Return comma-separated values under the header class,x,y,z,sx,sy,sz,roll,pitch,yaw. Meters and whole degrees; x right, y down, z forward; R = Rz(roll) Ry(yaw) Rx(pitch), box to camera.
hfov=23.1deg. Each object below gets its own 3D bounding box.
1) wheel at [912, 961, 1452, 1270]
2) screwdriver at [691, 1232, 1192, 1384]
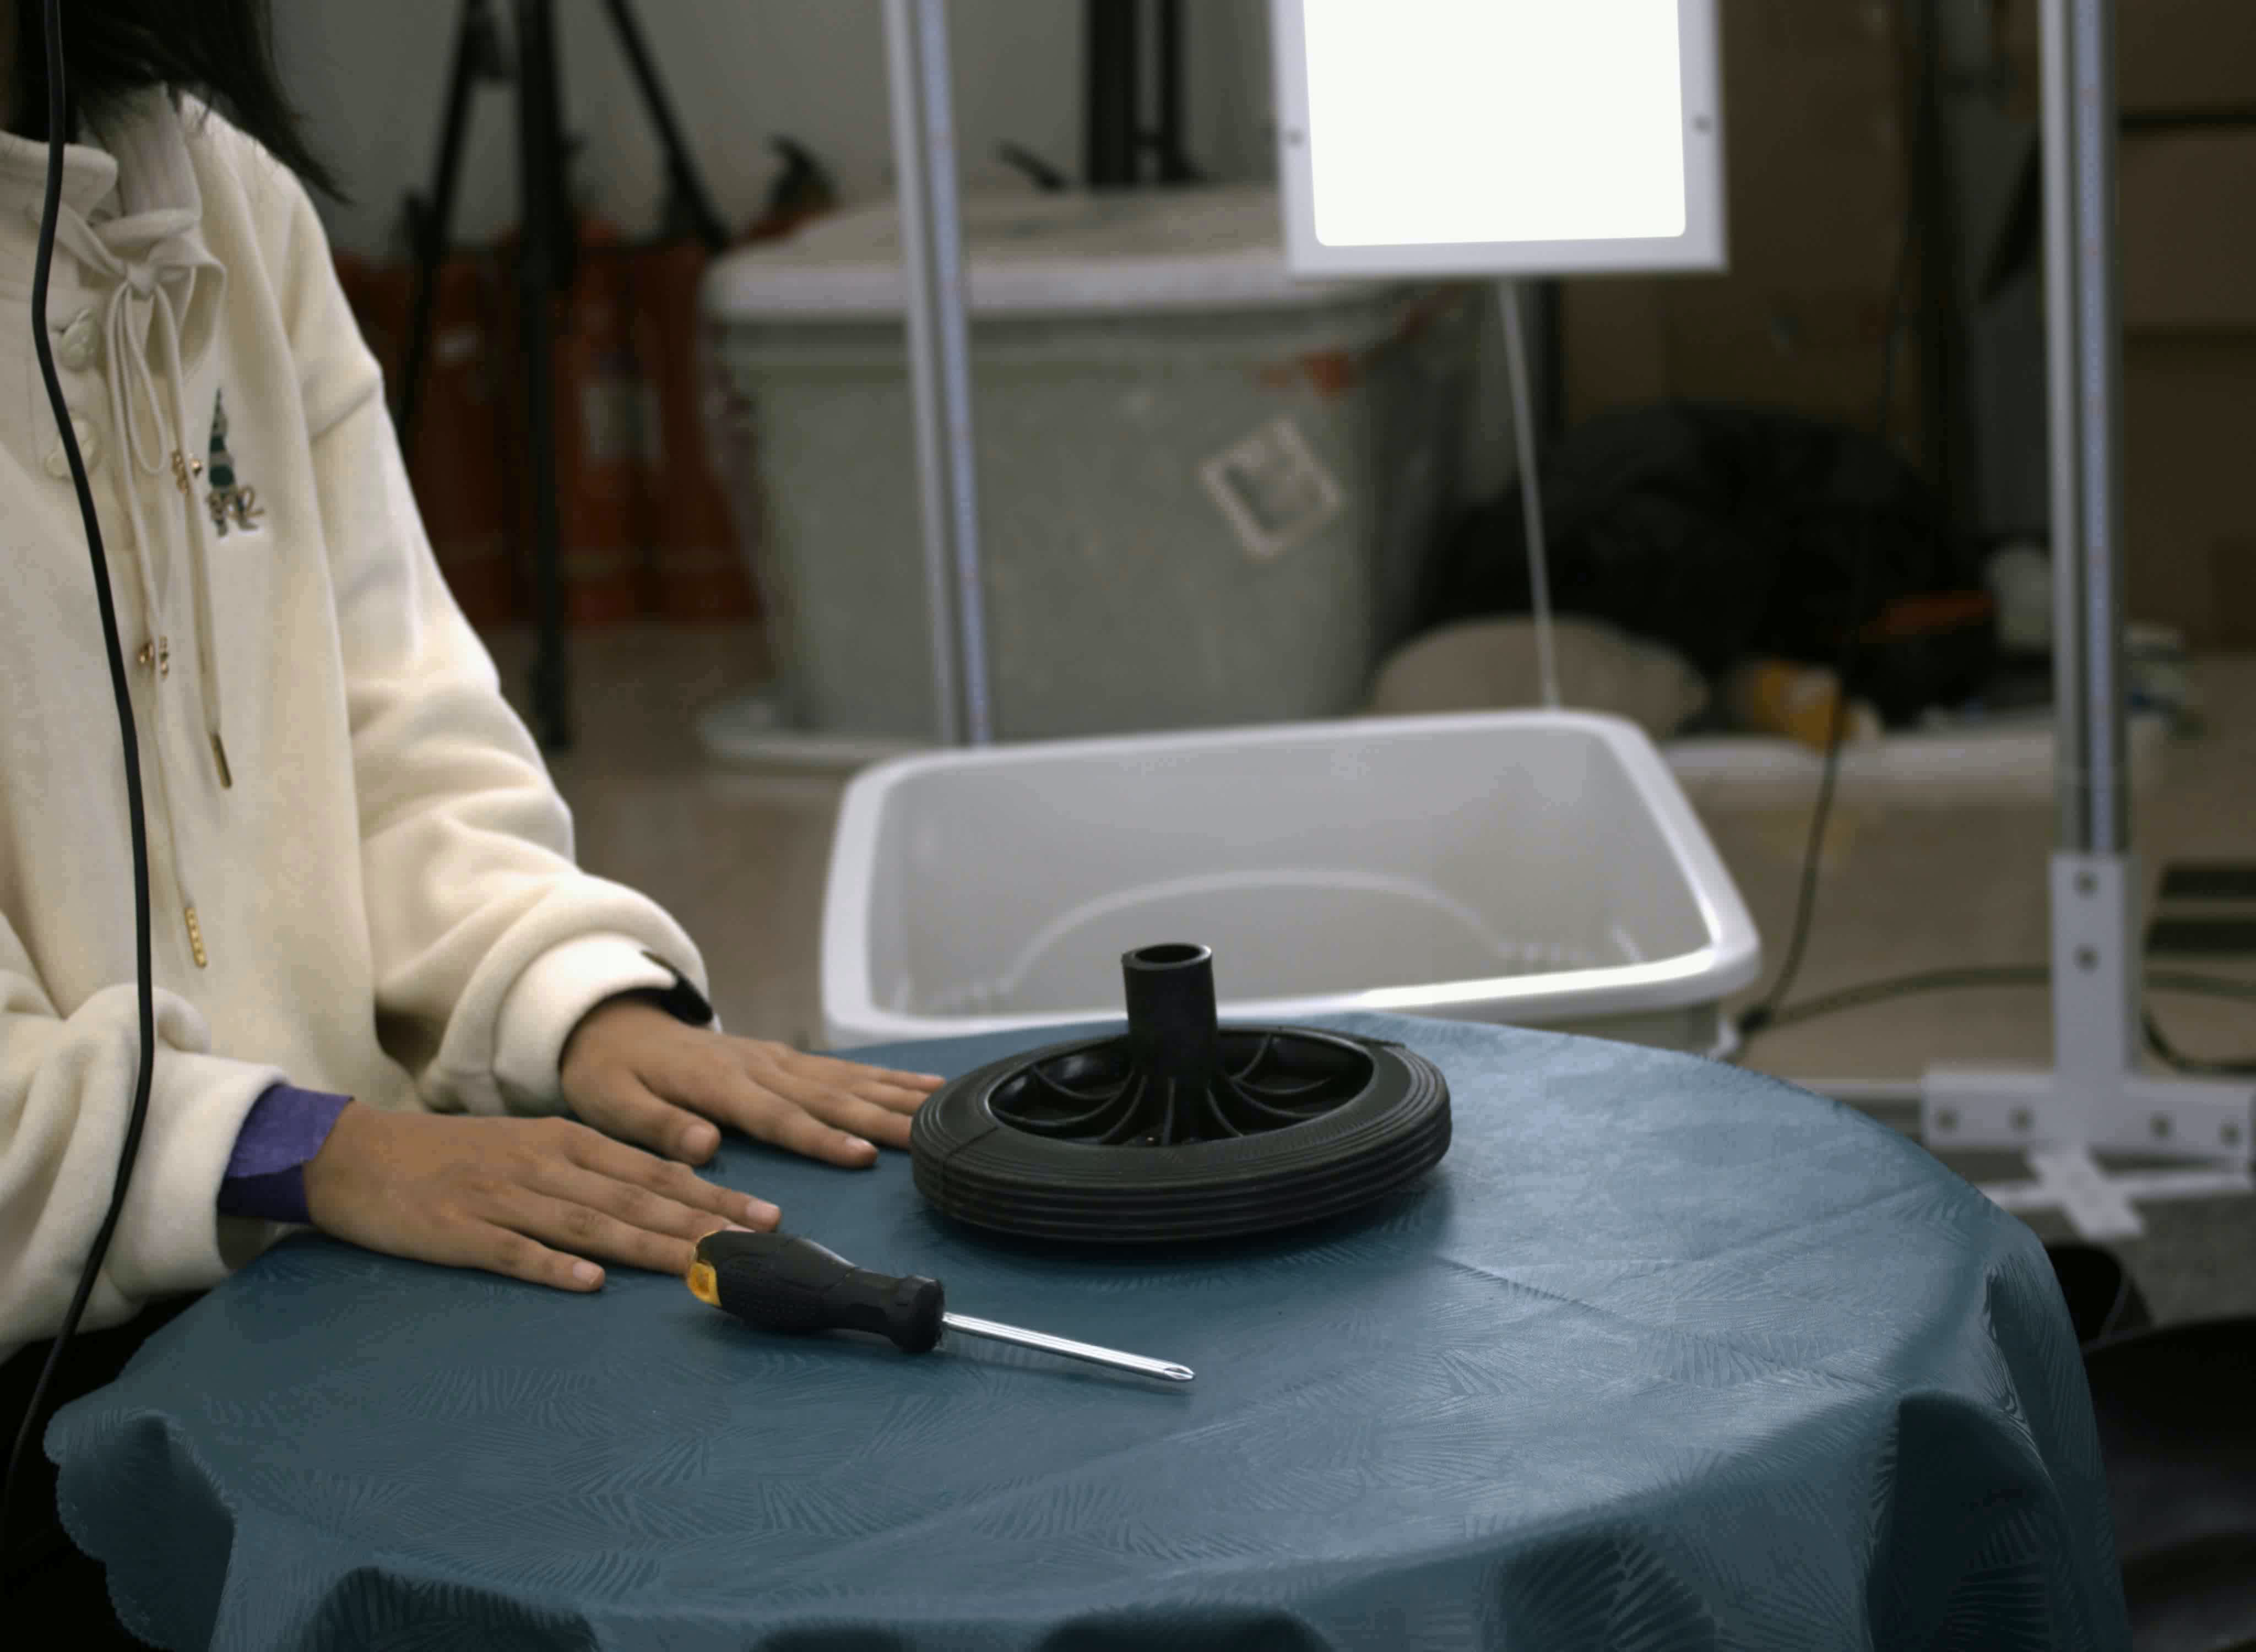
class,x,y,z,sx,sy,sz,roll,pitch,yaw
wheel,0.017,0.089,1.892,0.188,0.079,0.188,-3,17,8
screwdriver,-0.058,0.155,1.754,0.200,0.031,0.031,7,17,34
